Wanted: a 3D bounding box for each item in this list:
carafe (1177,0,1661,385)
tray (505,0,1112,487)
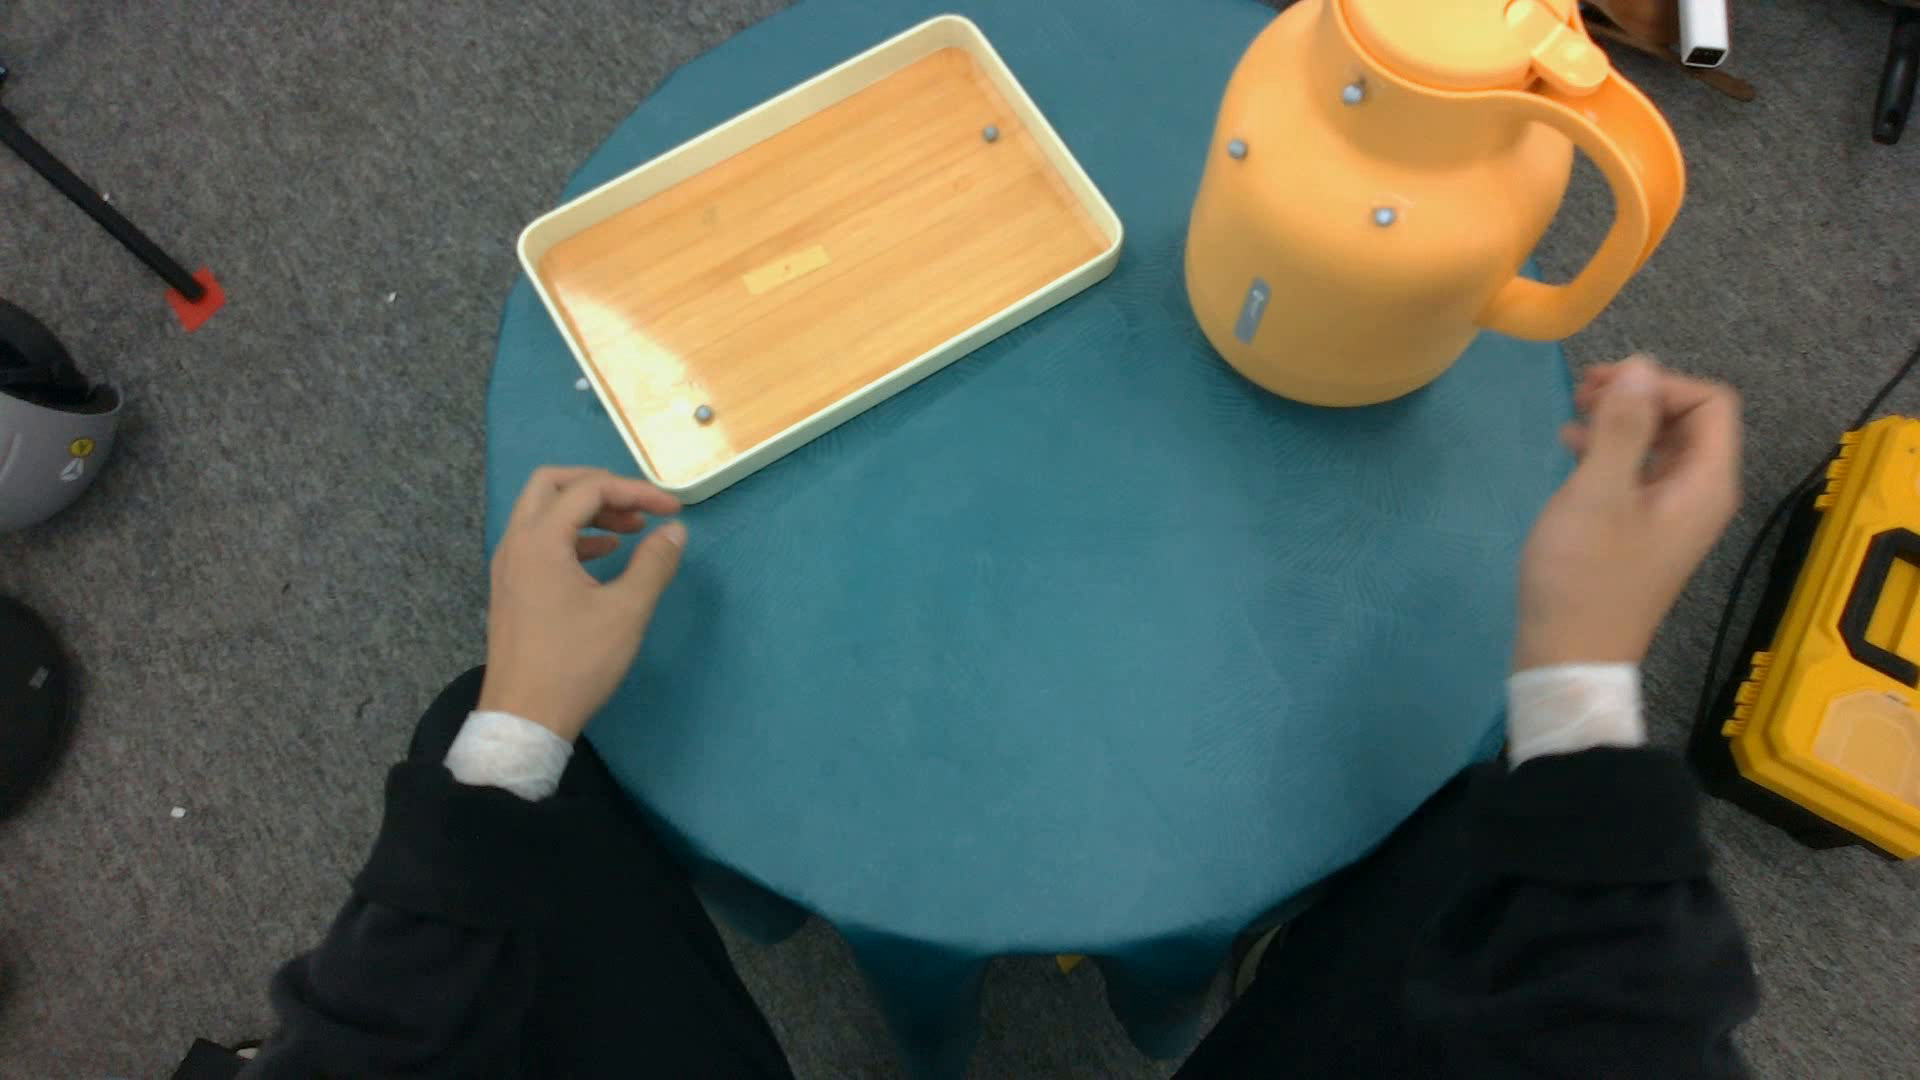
[{"bbox_3d":[0.208,-0.176,0.654,0.164,0.260,0.202,-44,75,-10],"label":"carafe"},{"bbox_3d":[-0.085,-0.175,0.779,0.301,0.027,0.192,-30,73,-9],"label":"tray"}]
